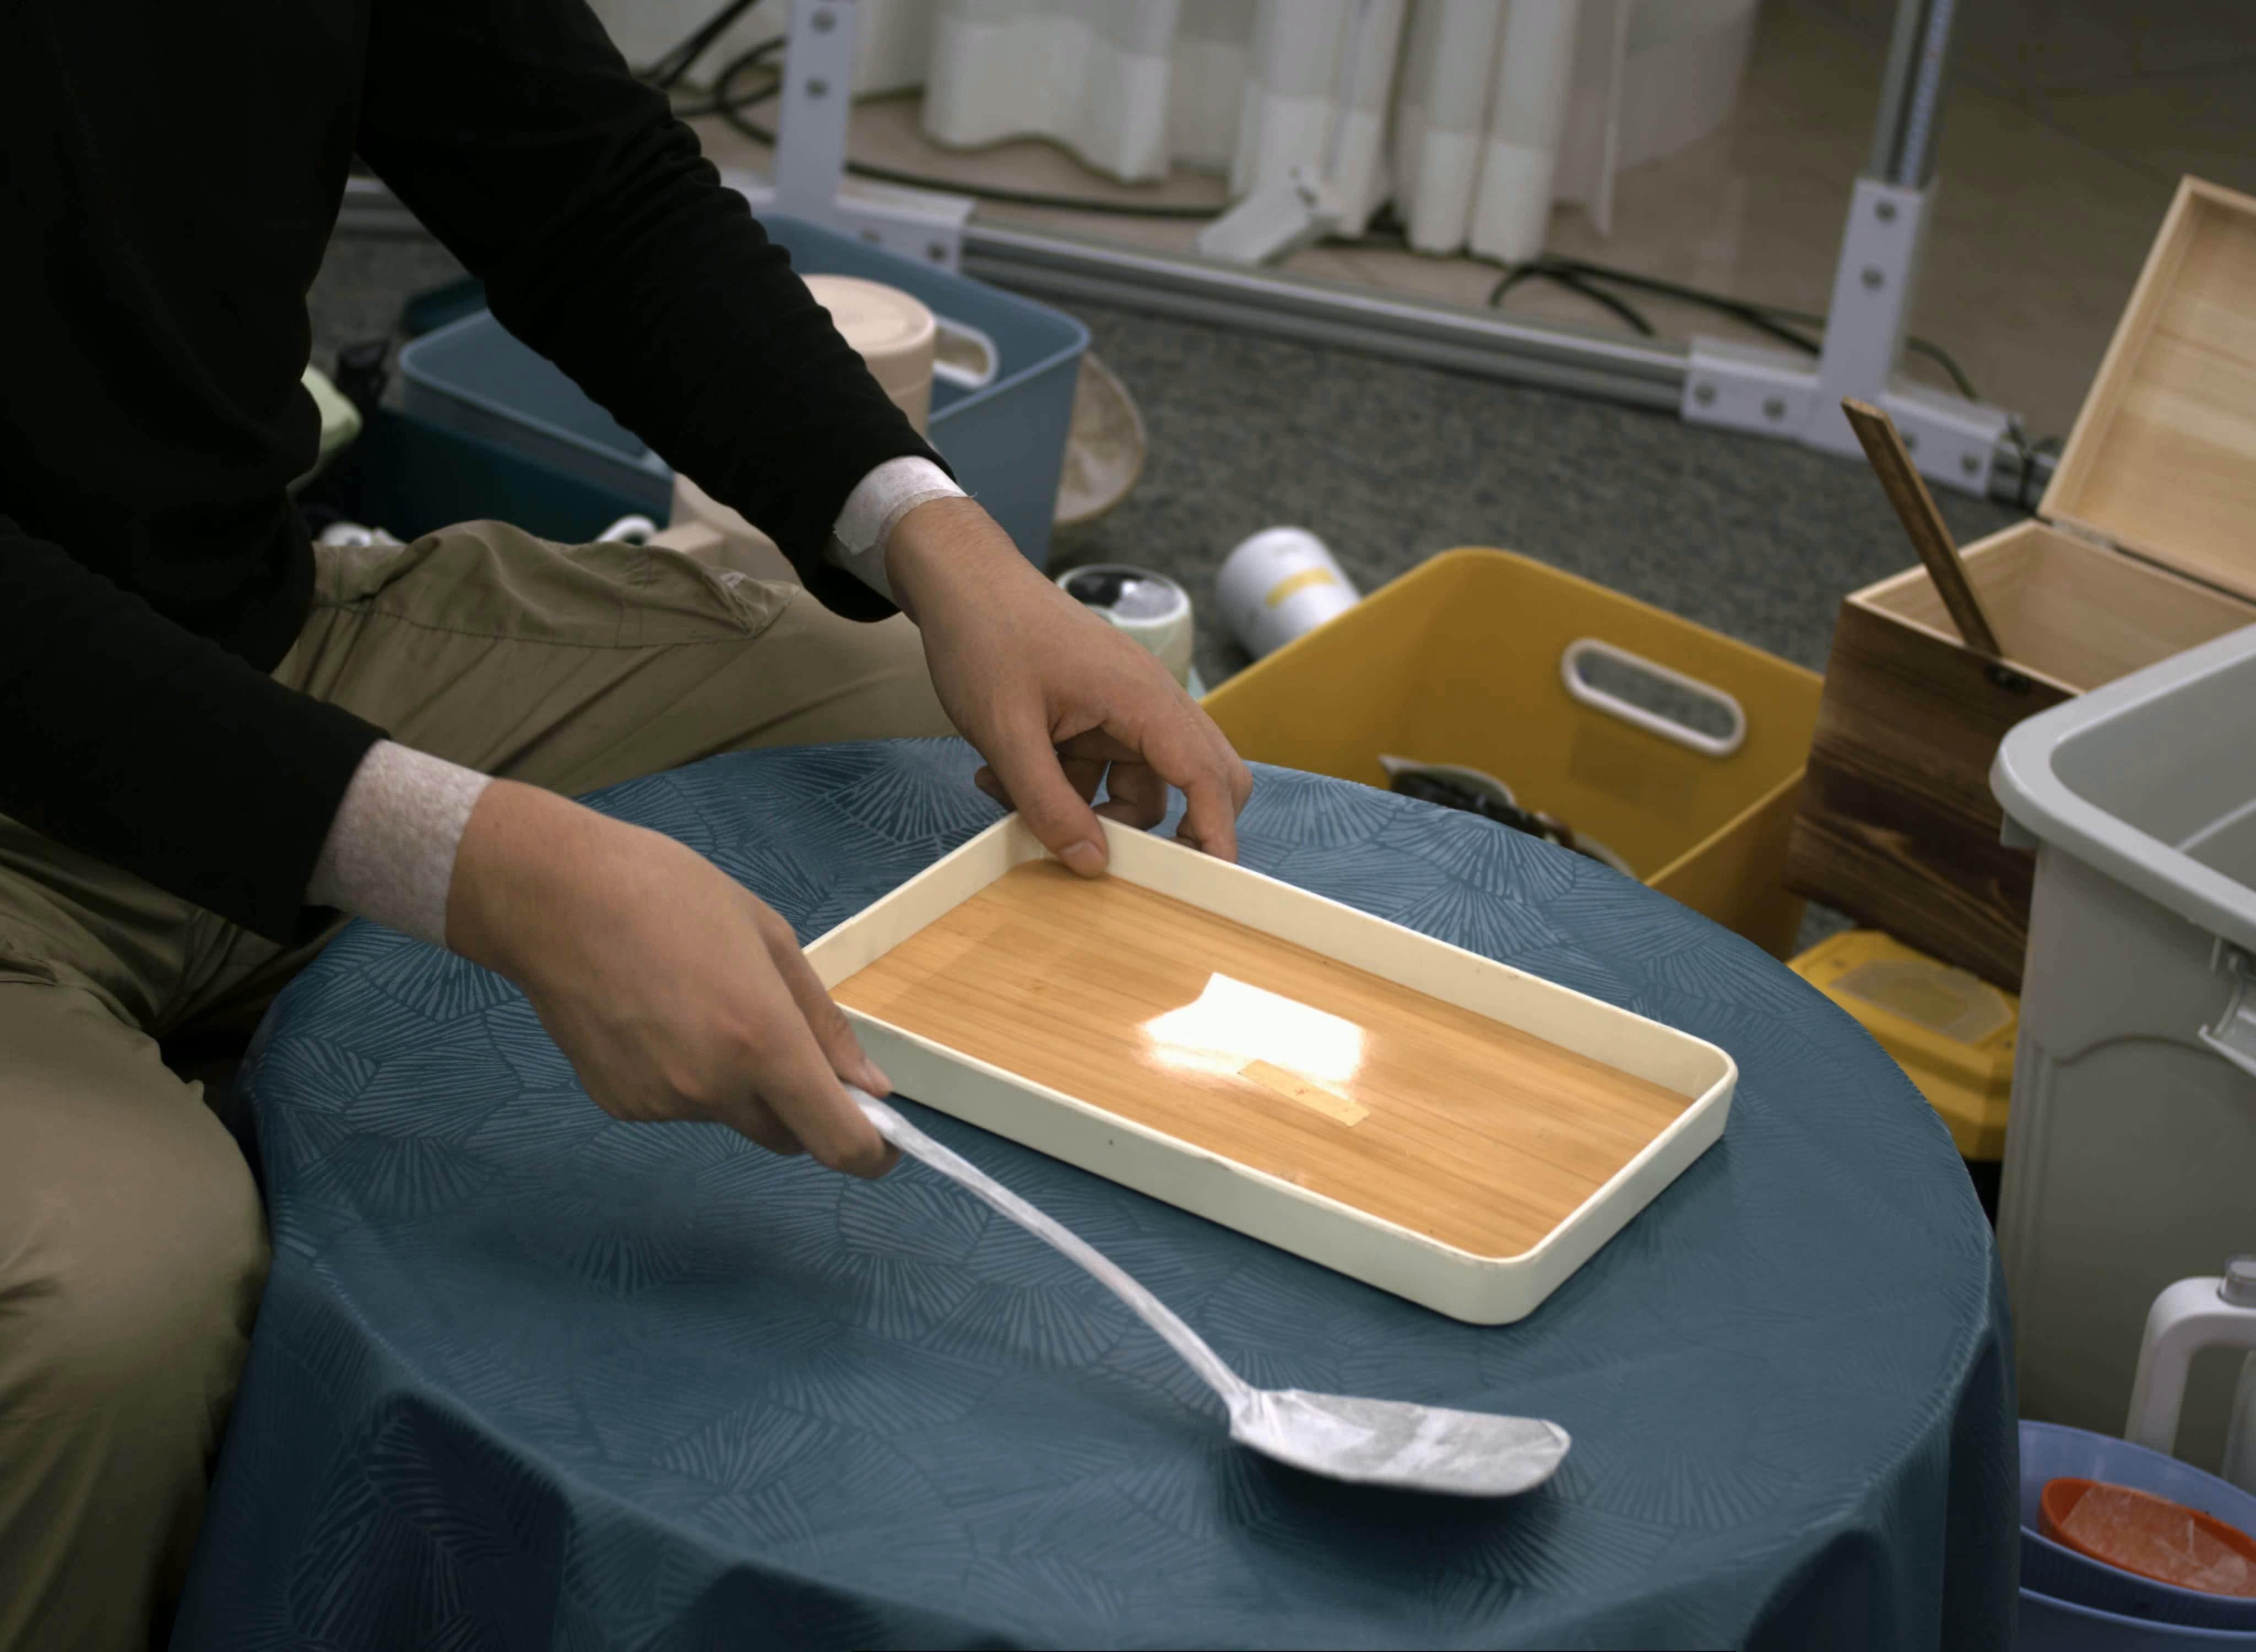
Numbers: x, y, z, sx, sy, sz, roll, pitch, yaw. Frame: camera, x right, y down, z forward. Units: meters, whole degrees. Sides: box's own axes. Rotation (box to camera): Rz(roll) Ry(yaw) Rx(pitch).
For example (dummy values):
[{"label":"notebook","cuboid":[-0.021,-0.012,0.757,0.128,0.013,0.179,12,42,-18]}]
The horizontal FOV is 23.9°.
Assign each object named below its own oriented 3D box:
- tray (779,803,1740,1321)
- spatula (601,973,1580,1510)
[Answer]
[{"label":"tray","cuboid":[0.046,0.078,1.871,0.302,0.027,0.191,20,30,26]},{"label":"spatula","cuboid":[-0.024,0.126,1.690,0.366,0.045,0.098,33,21,18]}]
